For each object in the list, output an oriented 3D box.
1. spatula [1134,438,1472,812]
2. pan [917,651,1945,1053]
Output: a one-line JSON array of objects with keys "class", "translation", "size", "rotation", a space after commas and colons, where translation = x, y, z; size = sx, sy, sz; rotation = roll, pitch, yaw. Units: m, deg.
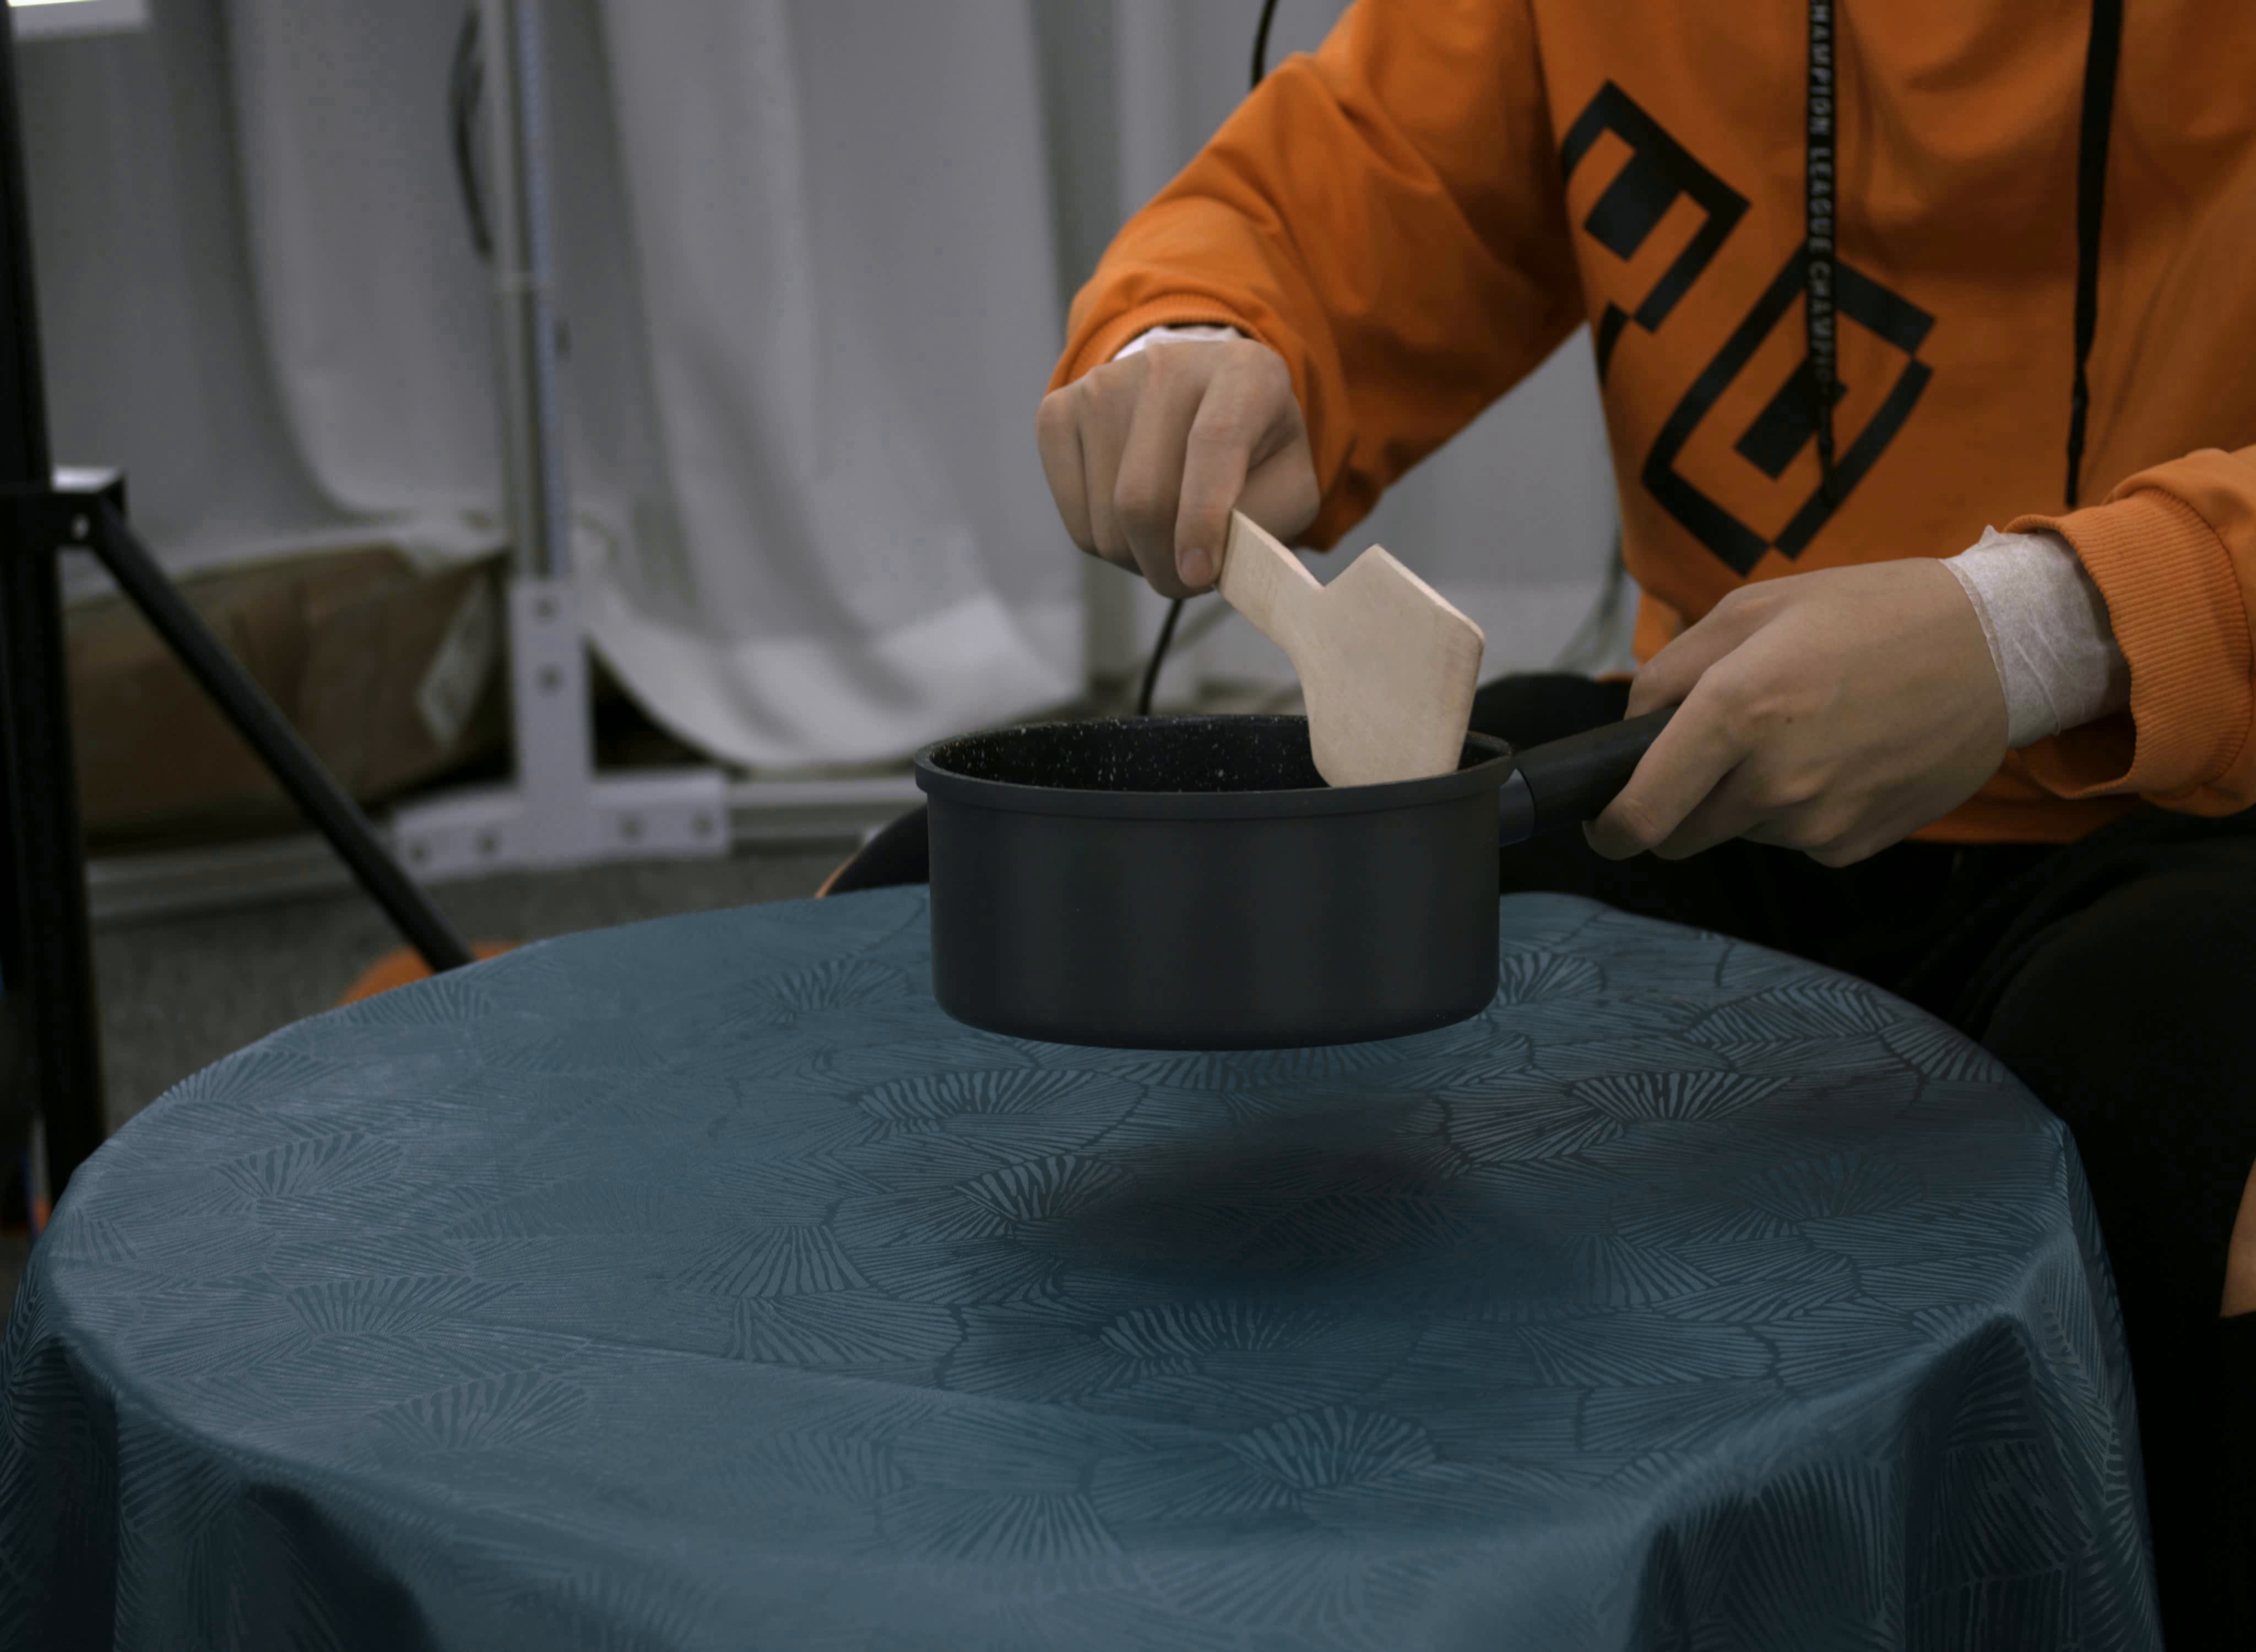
[{"class": "spatula", "translation": [0.046, -0.070, 1.601], "size": [0.010, 0.072, 0.298], "rotation": [6, 16, -19]}, {"class": "pan", "translation": [0.096, 0.005, 1.552], "size": [0.322, 0.086, 0.175], "rotation": [-6, 11, -24]}]
